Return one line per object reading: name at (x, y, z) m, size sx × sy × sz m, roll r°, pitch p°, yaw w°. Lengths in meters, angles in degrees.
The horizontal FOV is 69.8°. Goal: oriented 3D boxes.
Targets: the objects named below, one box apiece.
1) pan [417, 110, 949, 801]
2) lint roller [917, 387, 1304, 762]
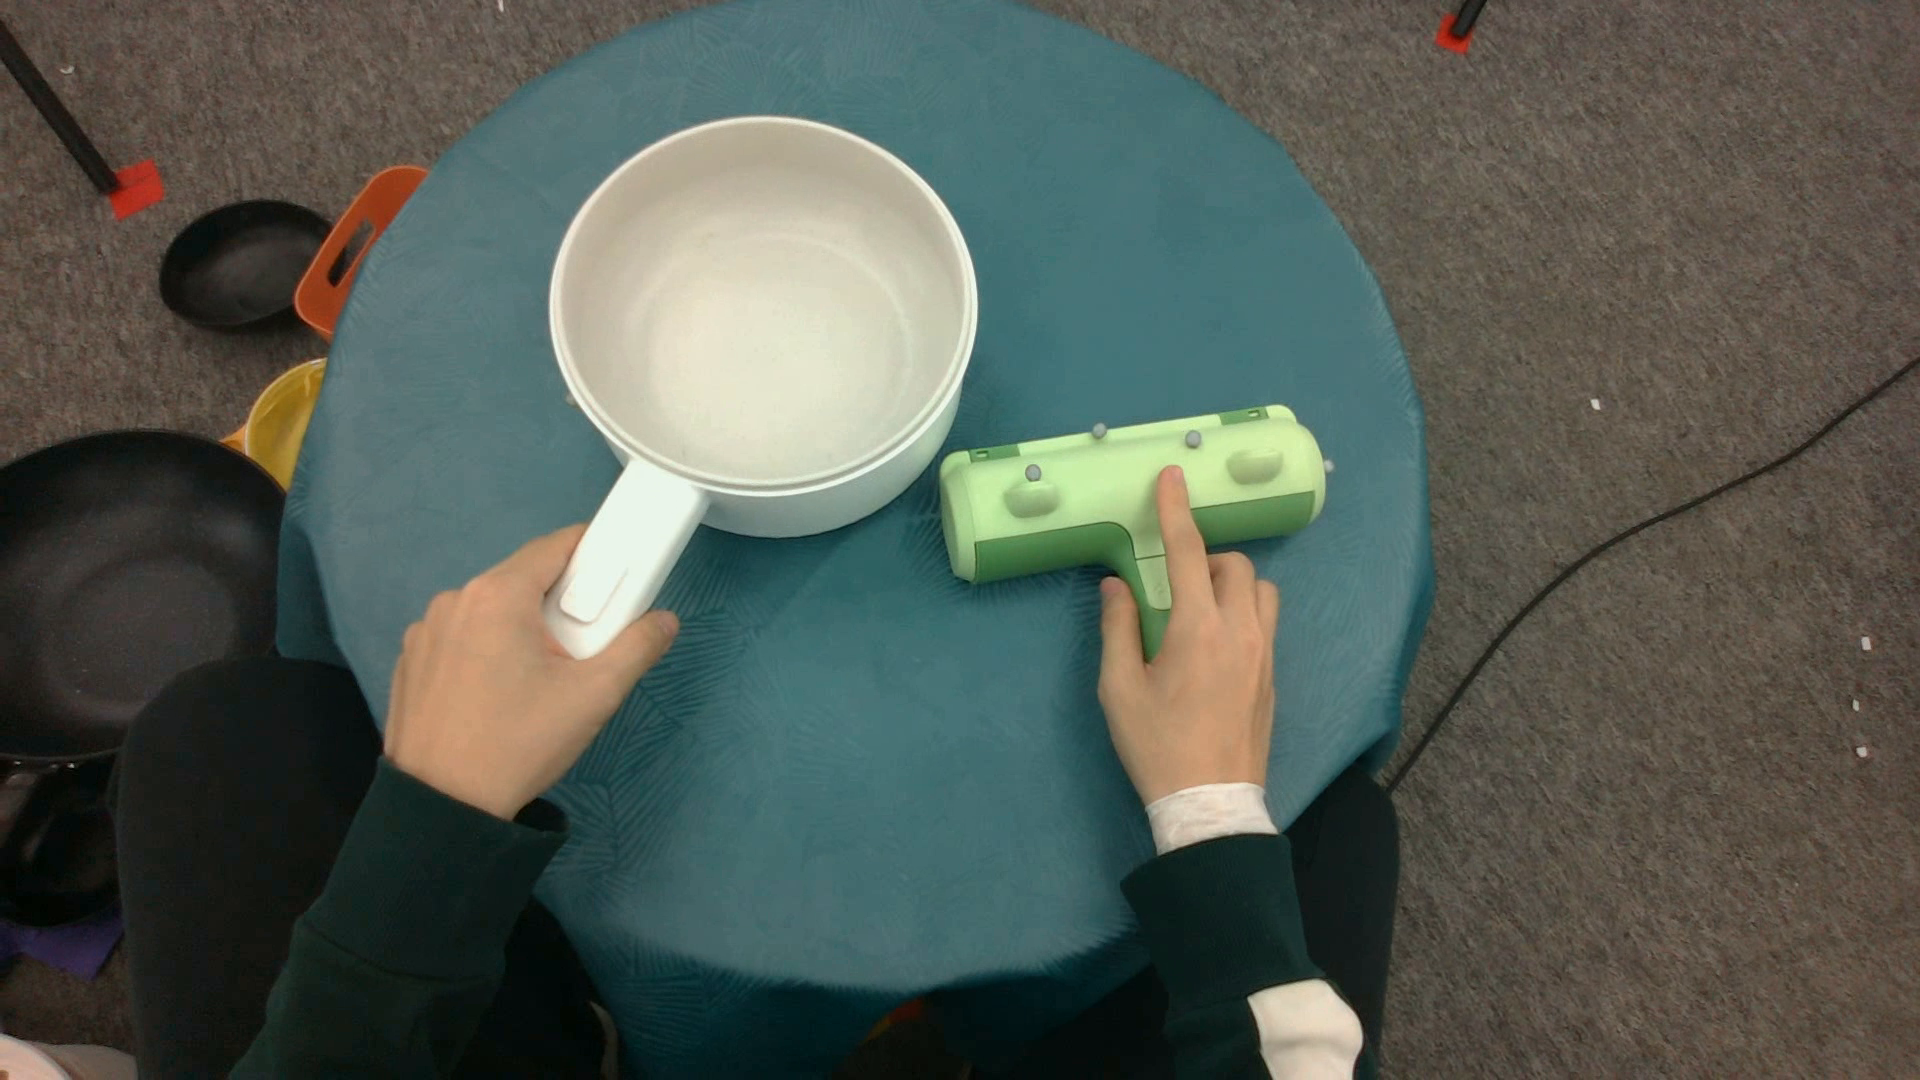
pan at (-0.140, -0.038, 0.672) m, size 0.201 × 0.102 × 0.356 m, roll 24°, pitch 72°, yaw 4°
lint roller at (0.091, 0.013, 0.680) m, size 0.199 × 0.082 × 0.184 m, roll -10°, pitch 62°, yaw -10°
